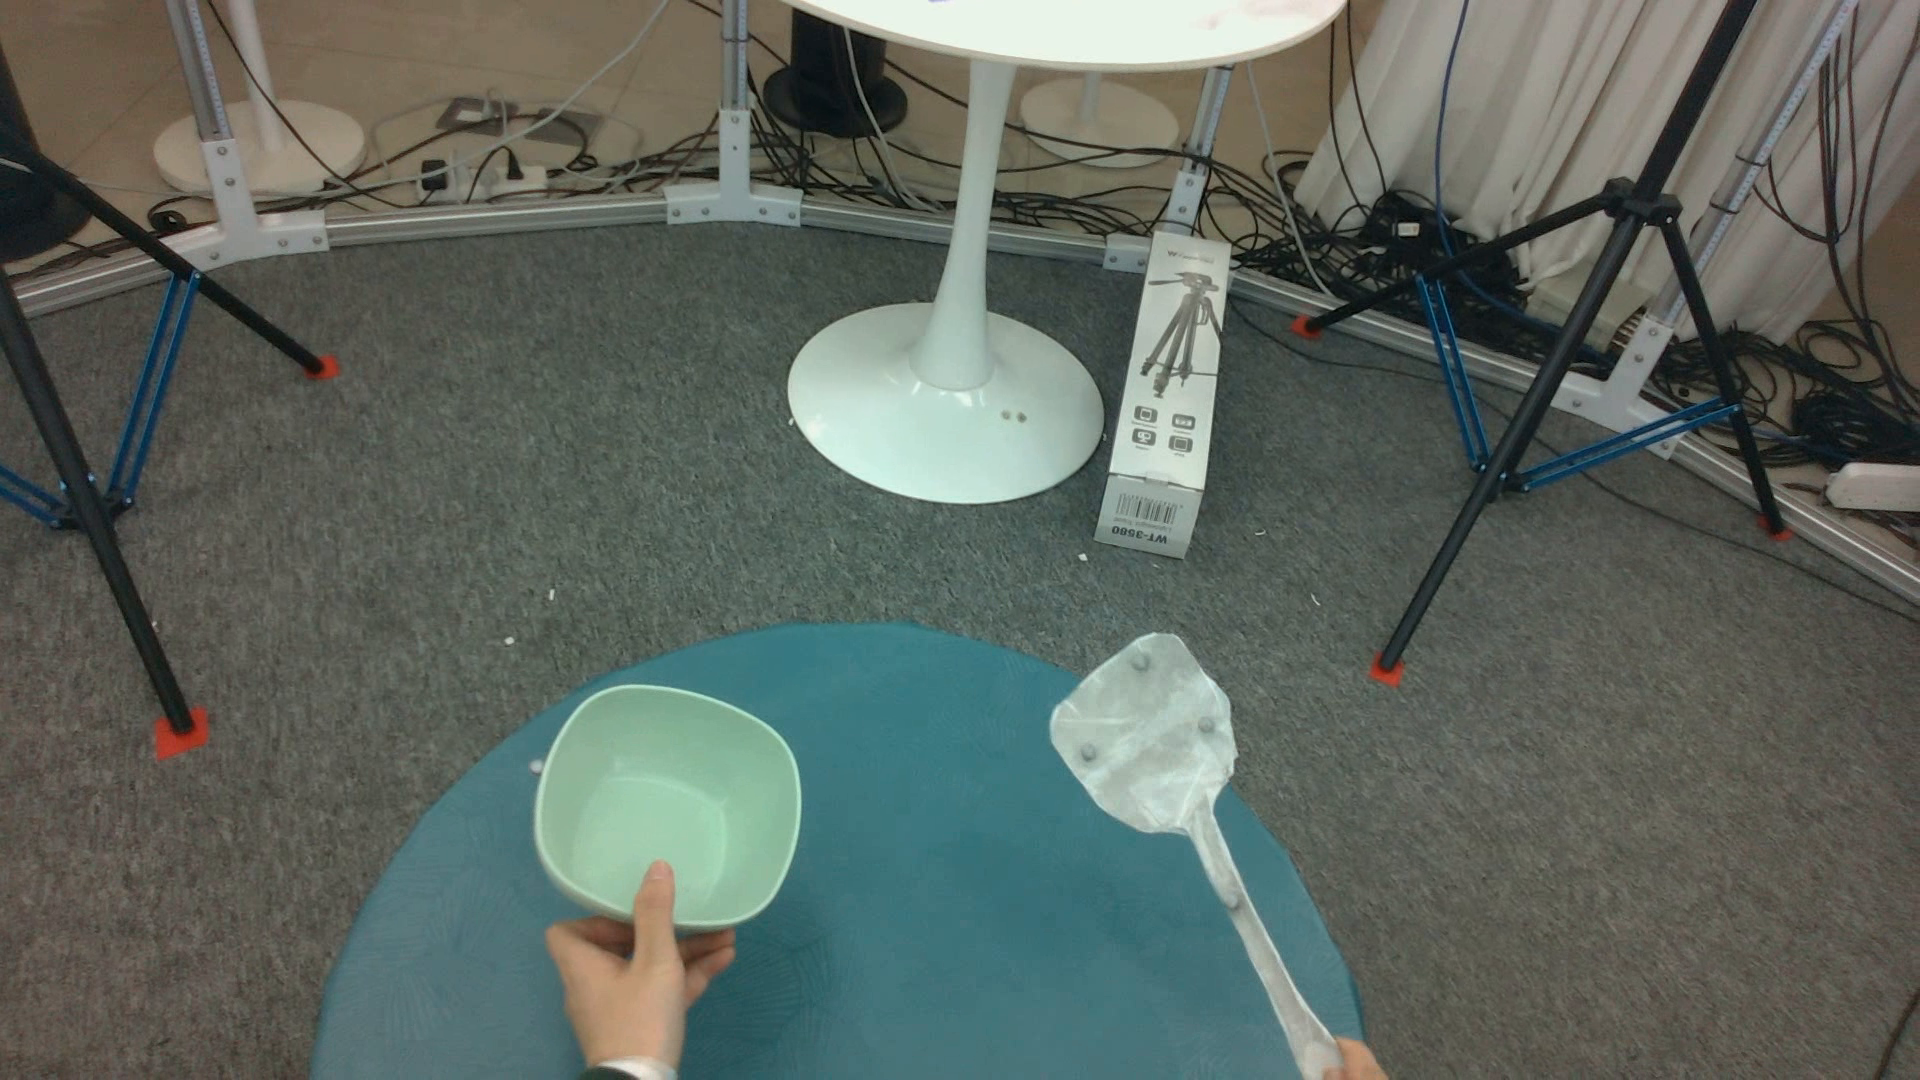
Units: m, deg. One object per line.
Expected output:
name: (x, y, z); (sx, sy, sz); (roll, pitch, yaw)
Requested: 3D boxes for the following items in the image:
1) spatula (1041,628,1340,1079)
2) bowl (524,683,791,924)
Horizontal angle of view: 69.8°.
spatula: (0.137, 0.192, 0.678); (0.098, 0.045, 0.366); (-39, 40, 14)
bowl: (-0.167, 0.152, 0.748); (0.151, 0.058, 0.152); (15, 42, -14)
